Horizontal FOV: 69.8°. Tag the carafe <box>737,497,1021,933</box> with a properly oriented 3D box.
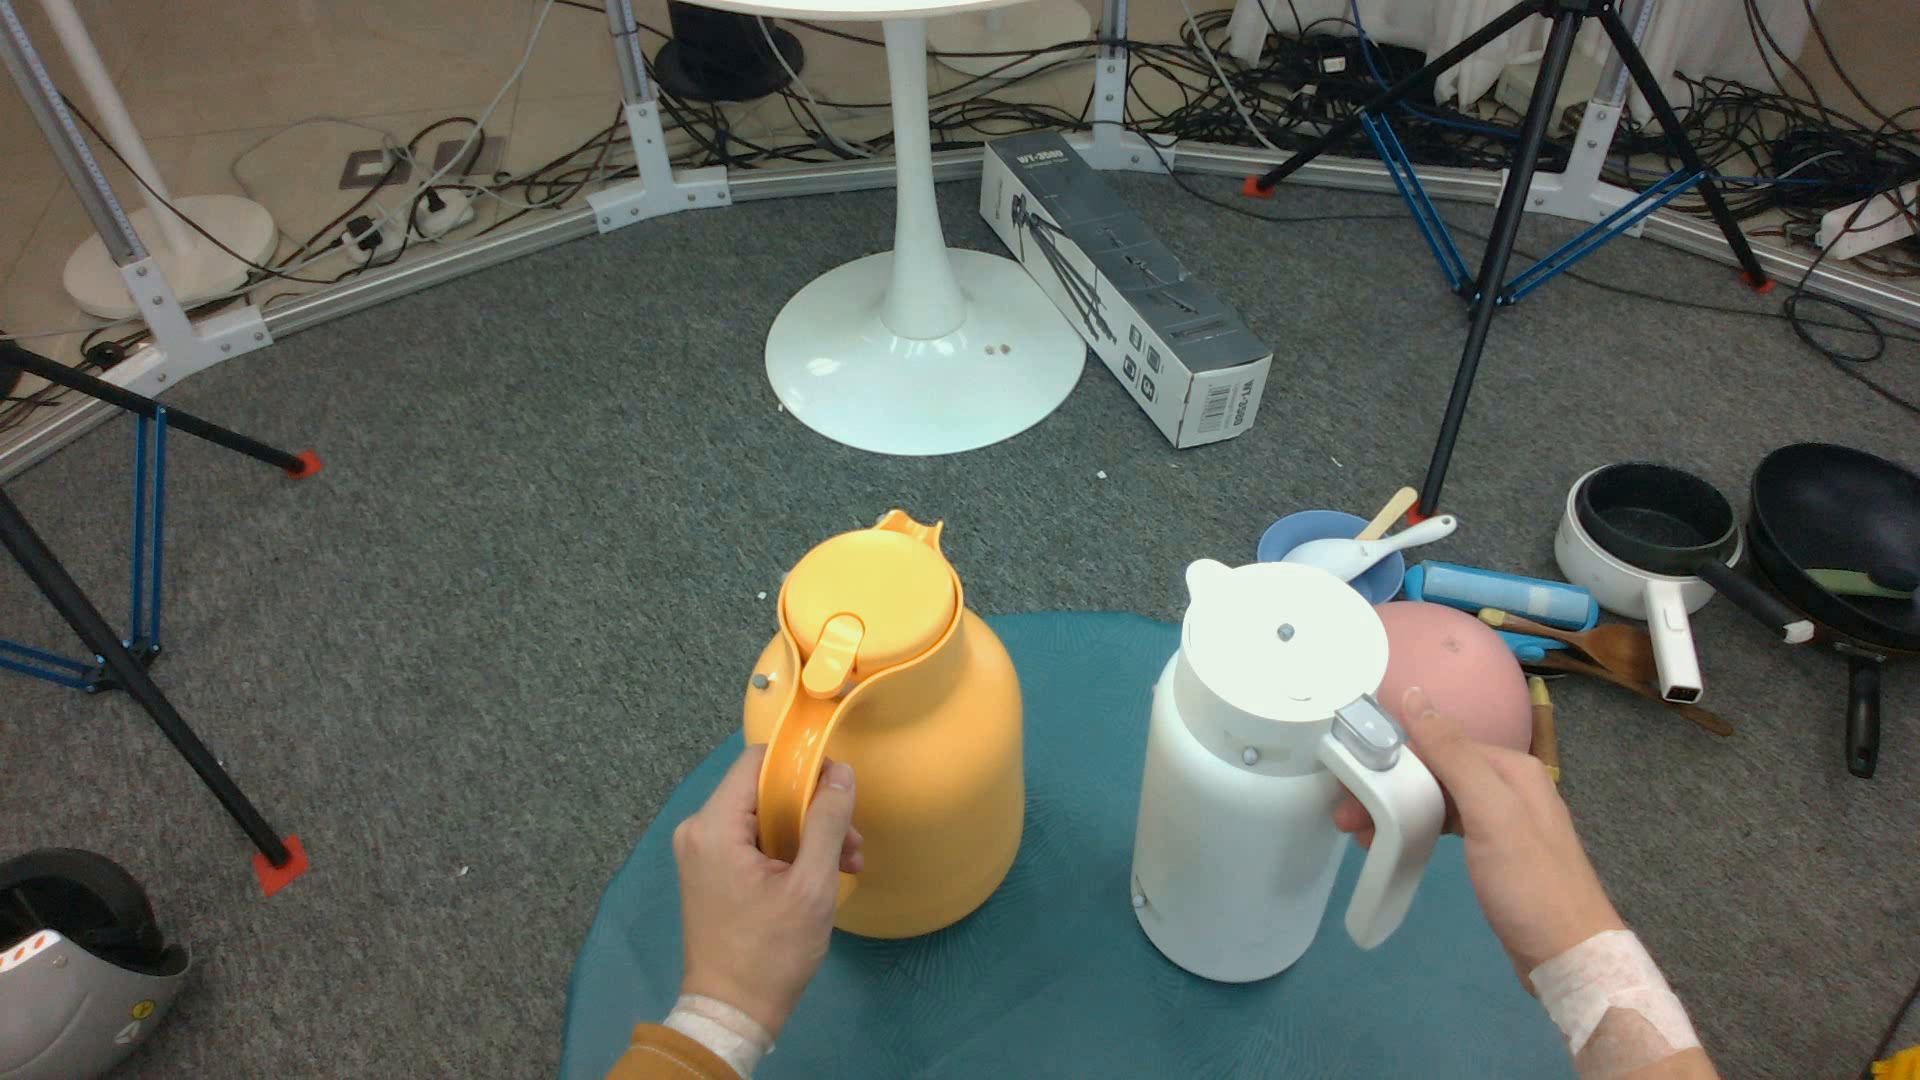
[{"bbox_3d":[-0.056,0.115,0.785,0.163,0.259,0.203,15,48,18],"label":"carafe"}]

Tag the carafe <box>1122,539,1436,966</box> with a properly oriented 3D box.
[{"bbox_3d":[0.168,0.138,0.757,0.124,0.267,0.173,-25,53,-23],"label":"carafe"}]
